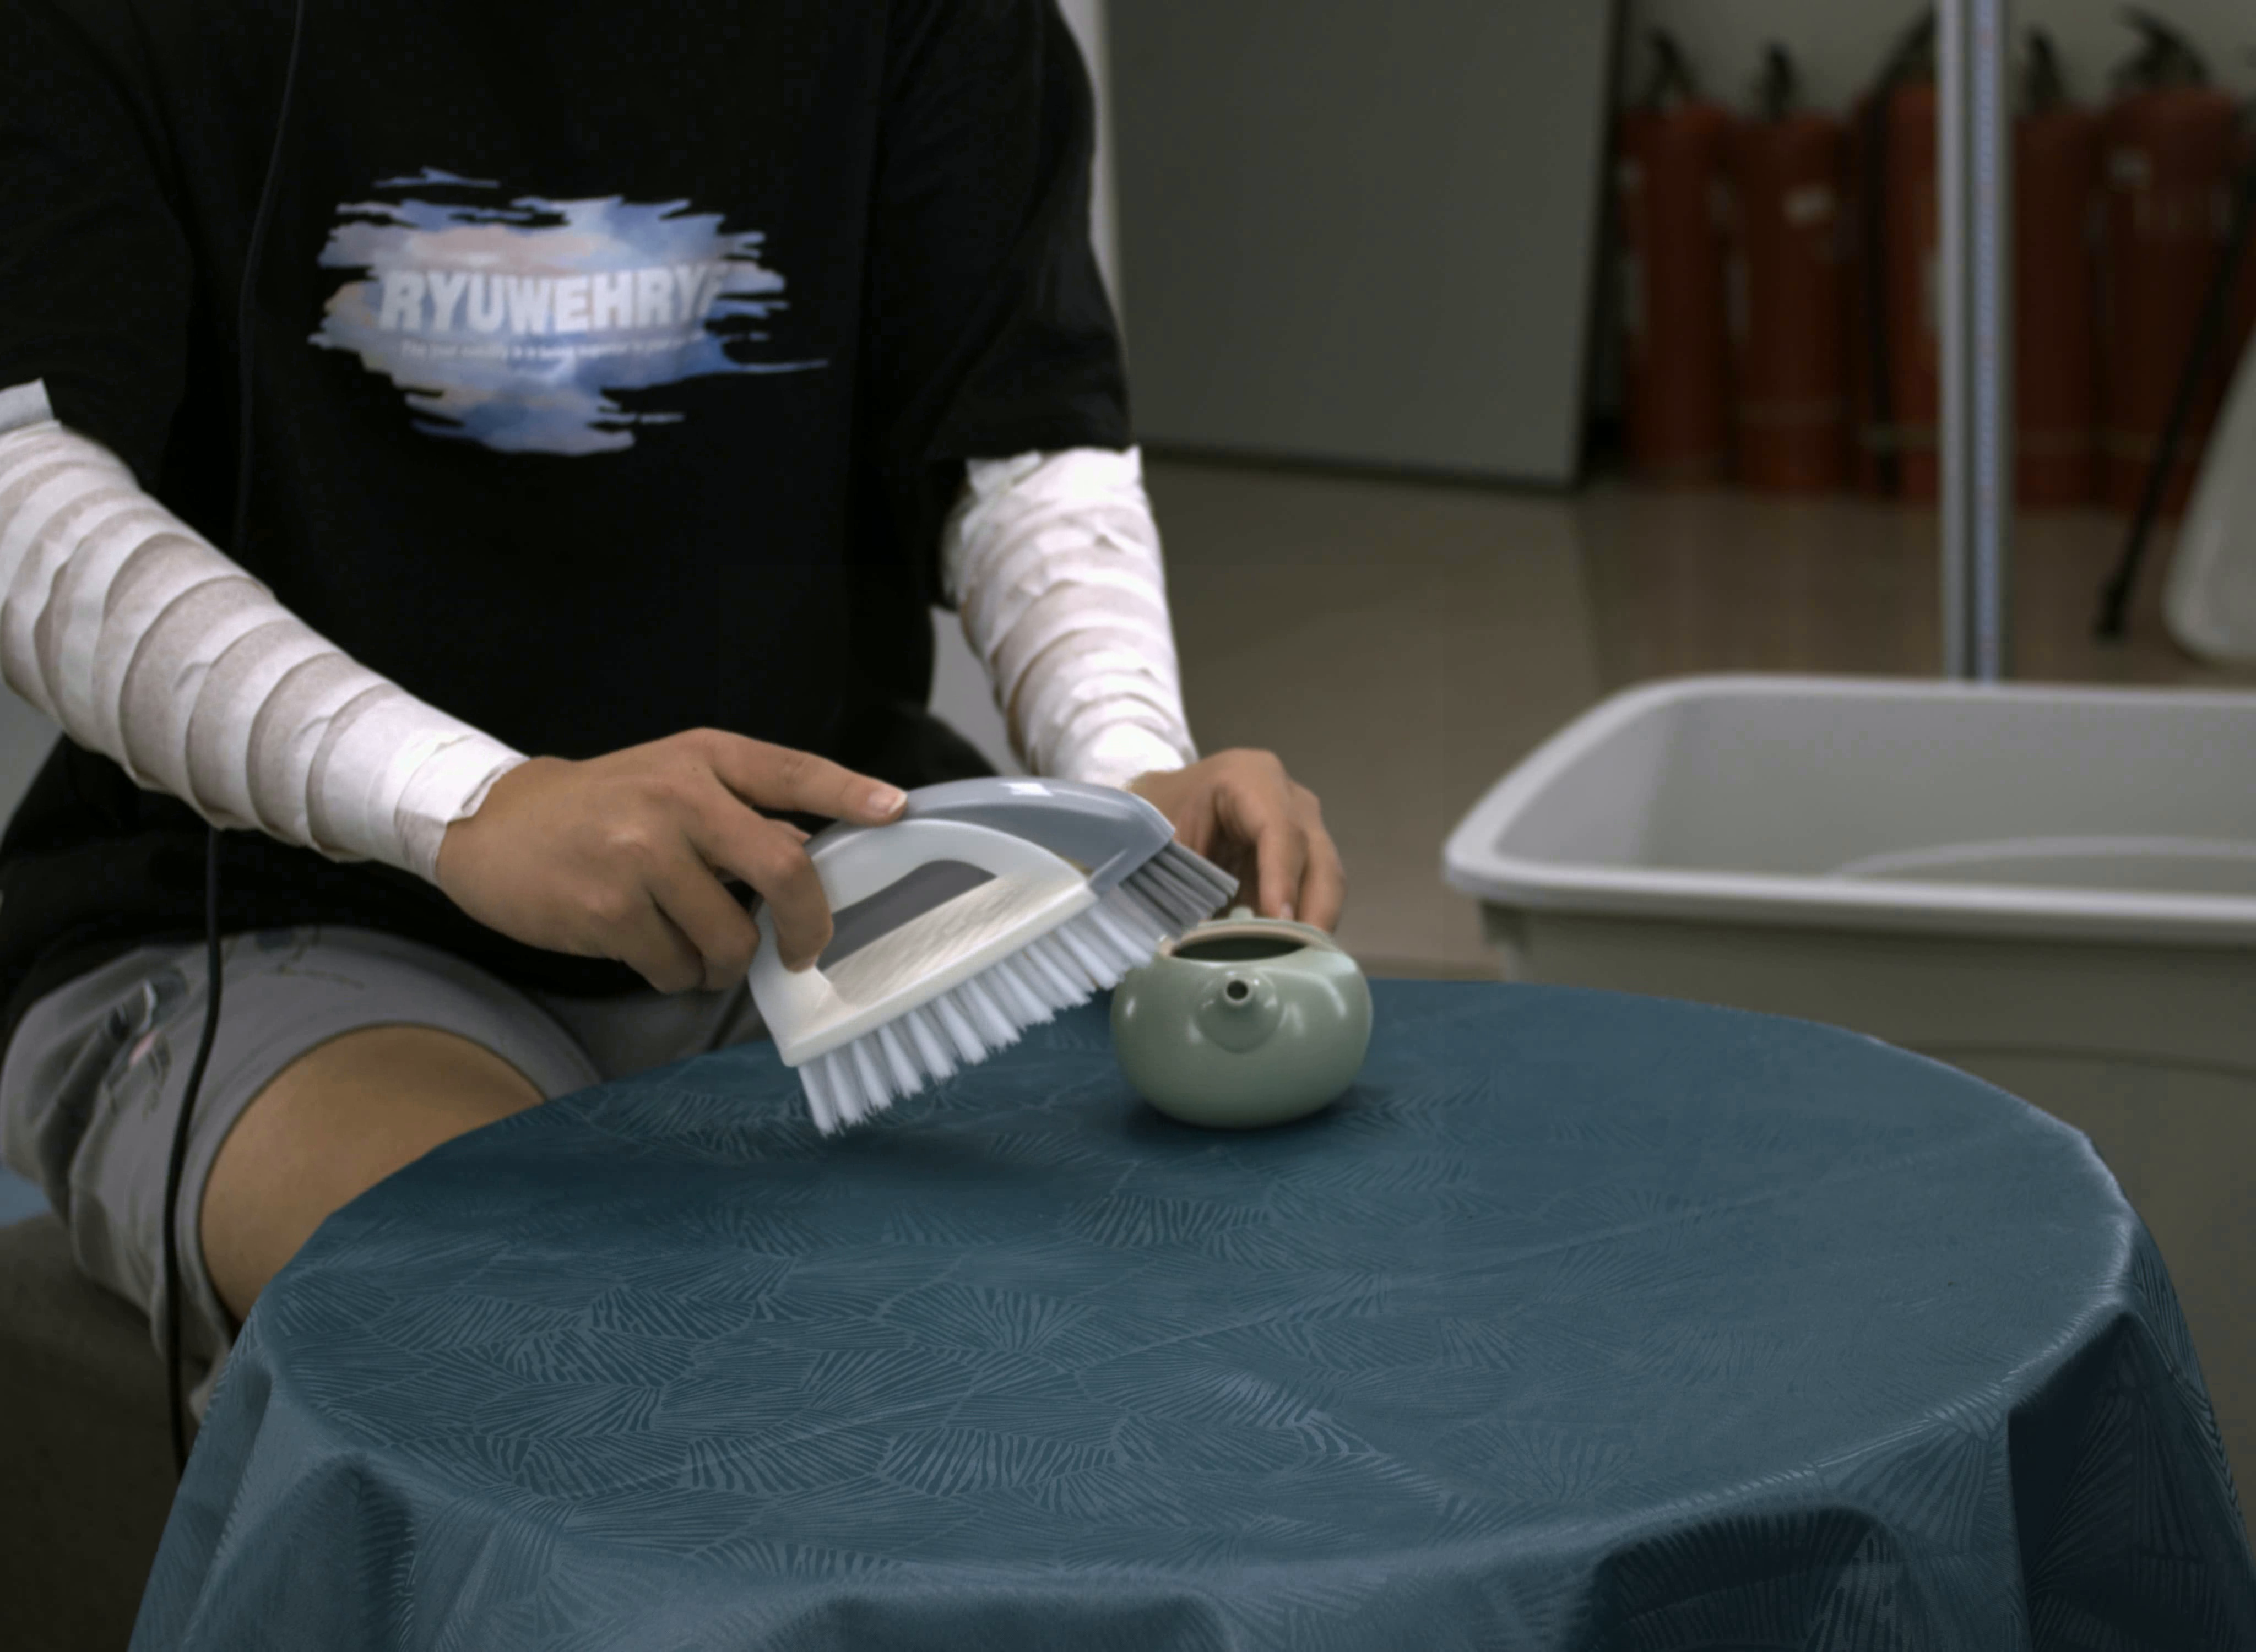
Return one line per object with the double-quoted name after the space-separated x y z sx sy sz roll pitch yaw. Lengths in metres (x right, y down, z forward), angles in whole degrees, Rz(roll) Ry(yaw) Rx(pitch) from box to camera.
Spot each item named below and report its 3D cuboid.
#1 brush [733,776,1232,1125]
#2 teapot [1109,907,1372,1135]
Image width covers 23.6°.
-0.056 0.025 1.798 0.176 0.094 0.061 -26 22 30 "brush"
0.040 0.067 1.858 0.091 0.061 0.128 -4 13 8 "teapot"
